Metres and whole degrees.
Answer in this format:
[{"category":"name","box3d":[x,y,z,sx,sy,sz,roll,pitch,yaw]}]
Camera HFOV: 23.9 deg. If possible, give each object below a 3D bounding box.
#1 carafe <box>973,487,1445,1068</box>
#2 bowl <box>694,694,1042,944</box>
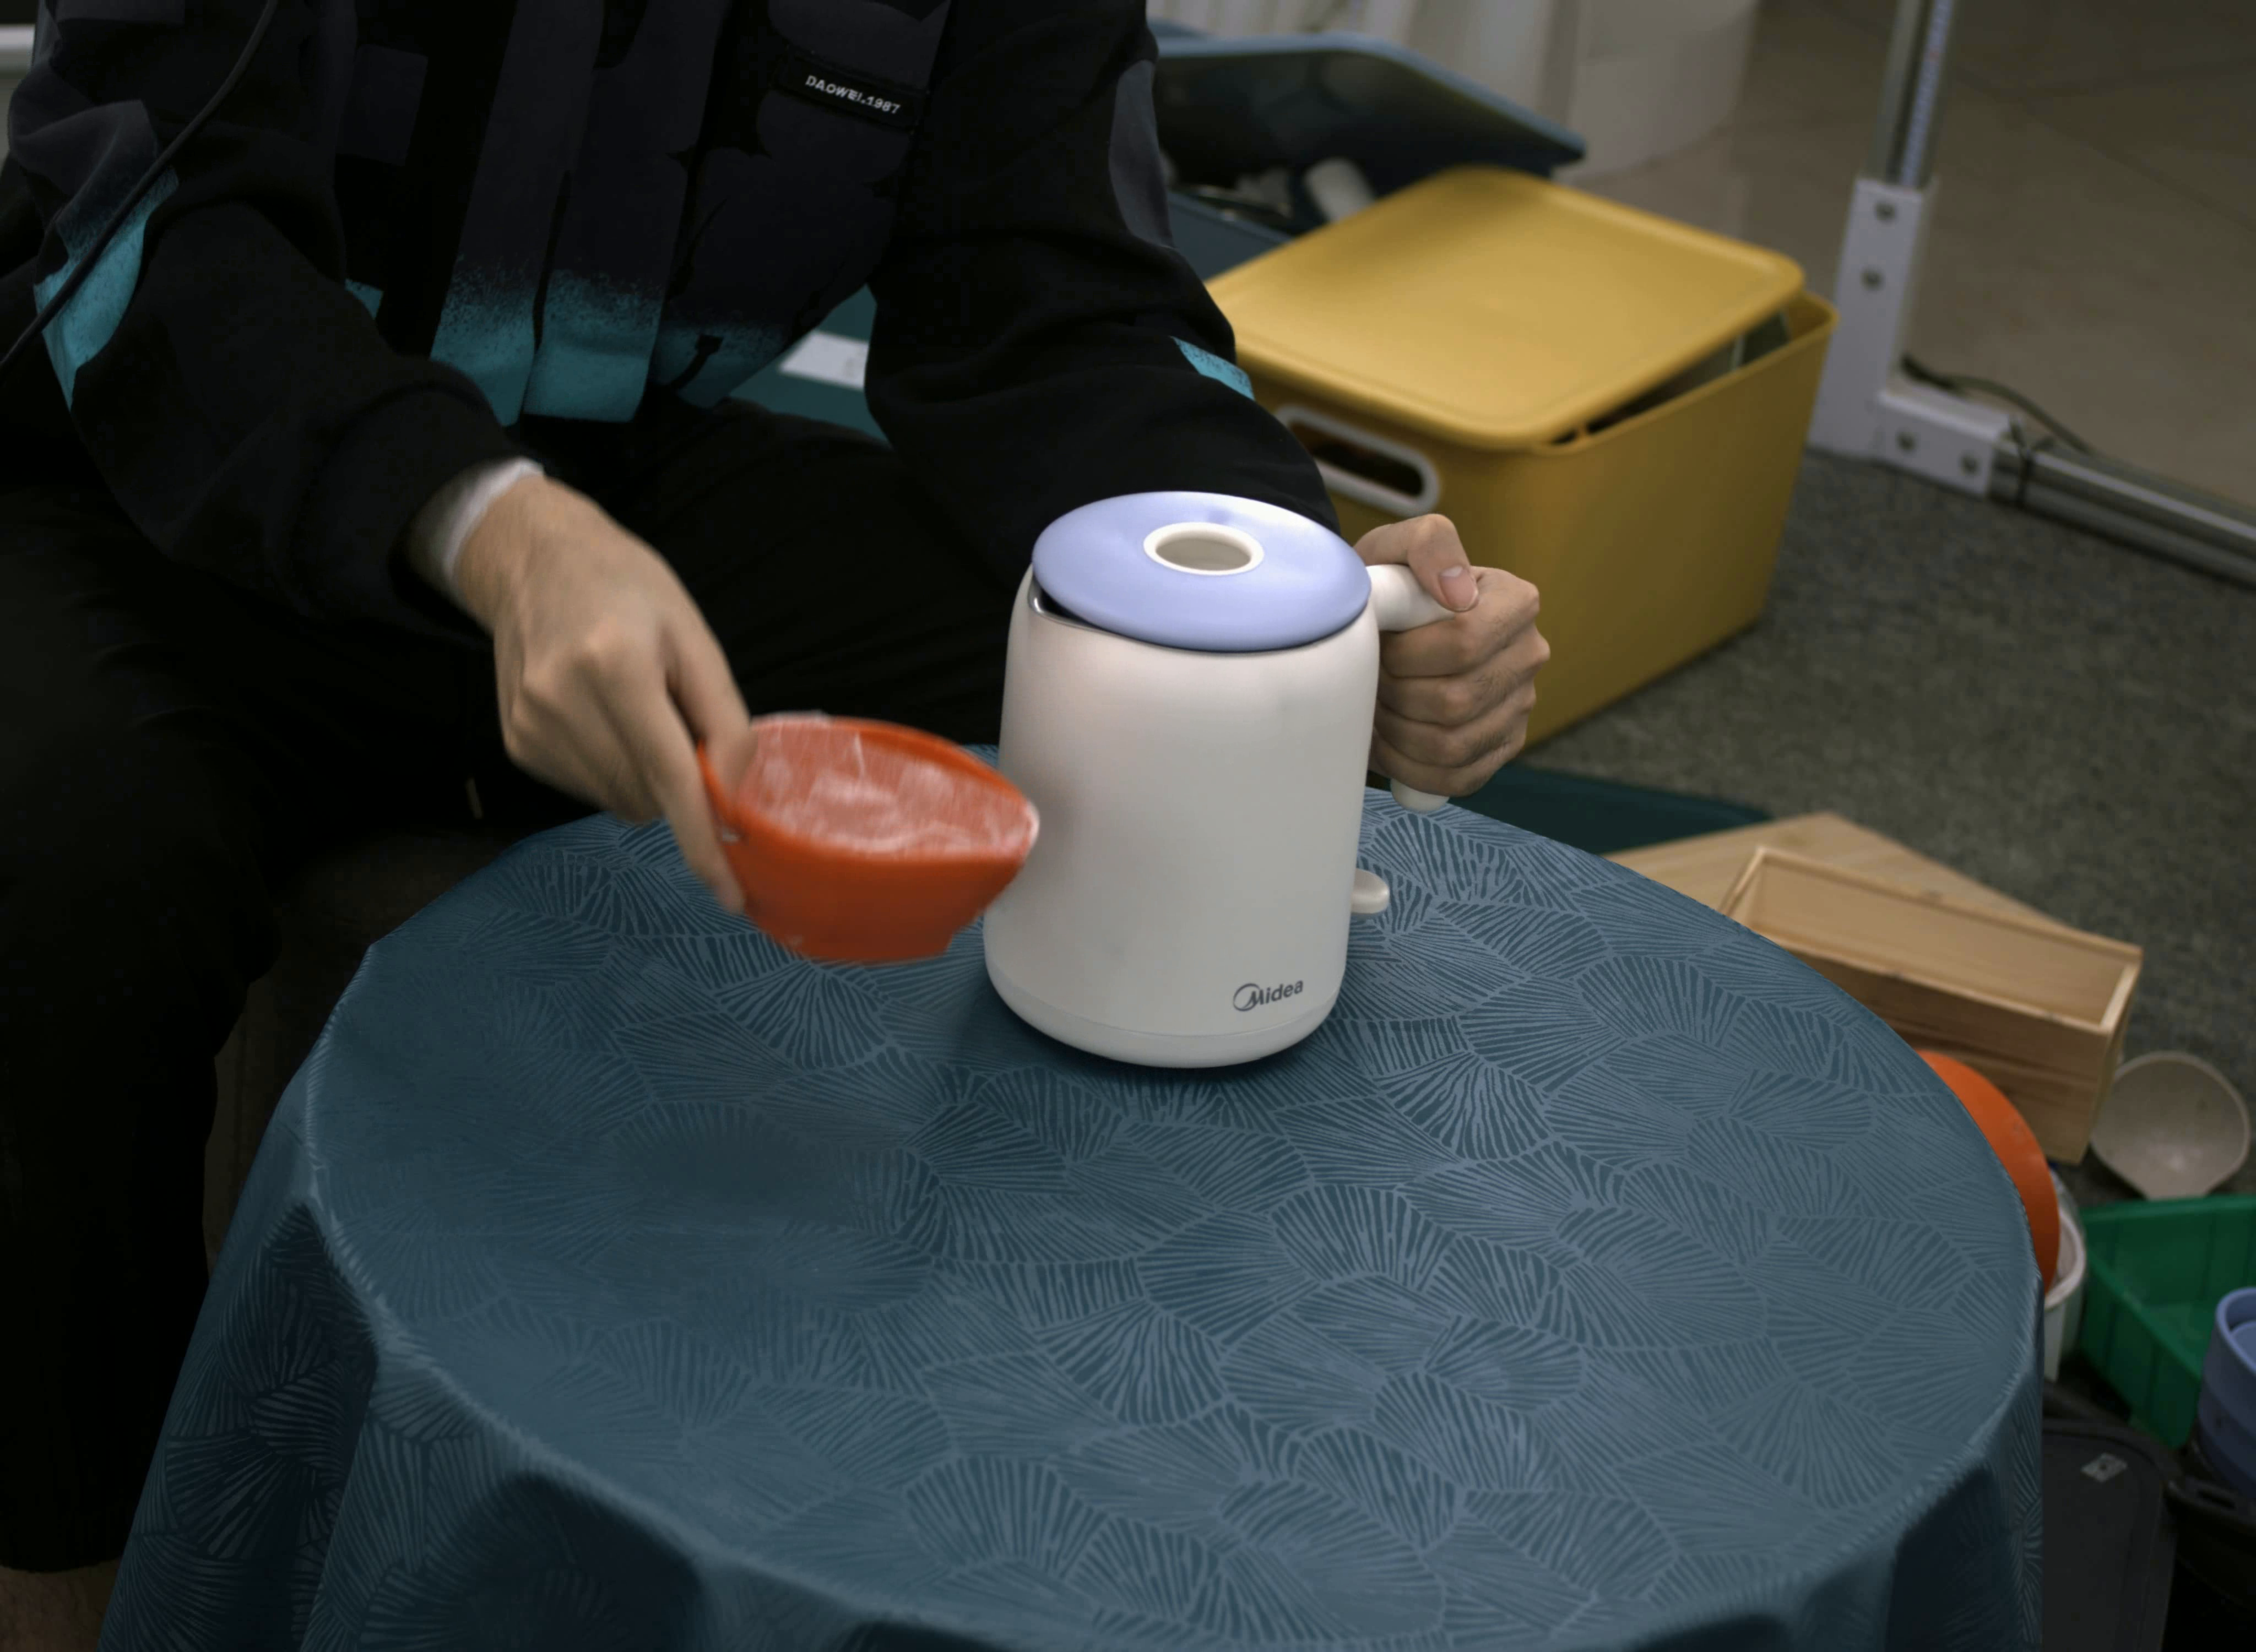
[{"category":"carafe","box3d":[0.037,-0.022,1.894,0.190,0.182,0.133,-11,33,-33]},{"category":"bowl","box3d":[-0.090,0.001,1.769,0.118,0.051,0.119,10,23,-5]}]
